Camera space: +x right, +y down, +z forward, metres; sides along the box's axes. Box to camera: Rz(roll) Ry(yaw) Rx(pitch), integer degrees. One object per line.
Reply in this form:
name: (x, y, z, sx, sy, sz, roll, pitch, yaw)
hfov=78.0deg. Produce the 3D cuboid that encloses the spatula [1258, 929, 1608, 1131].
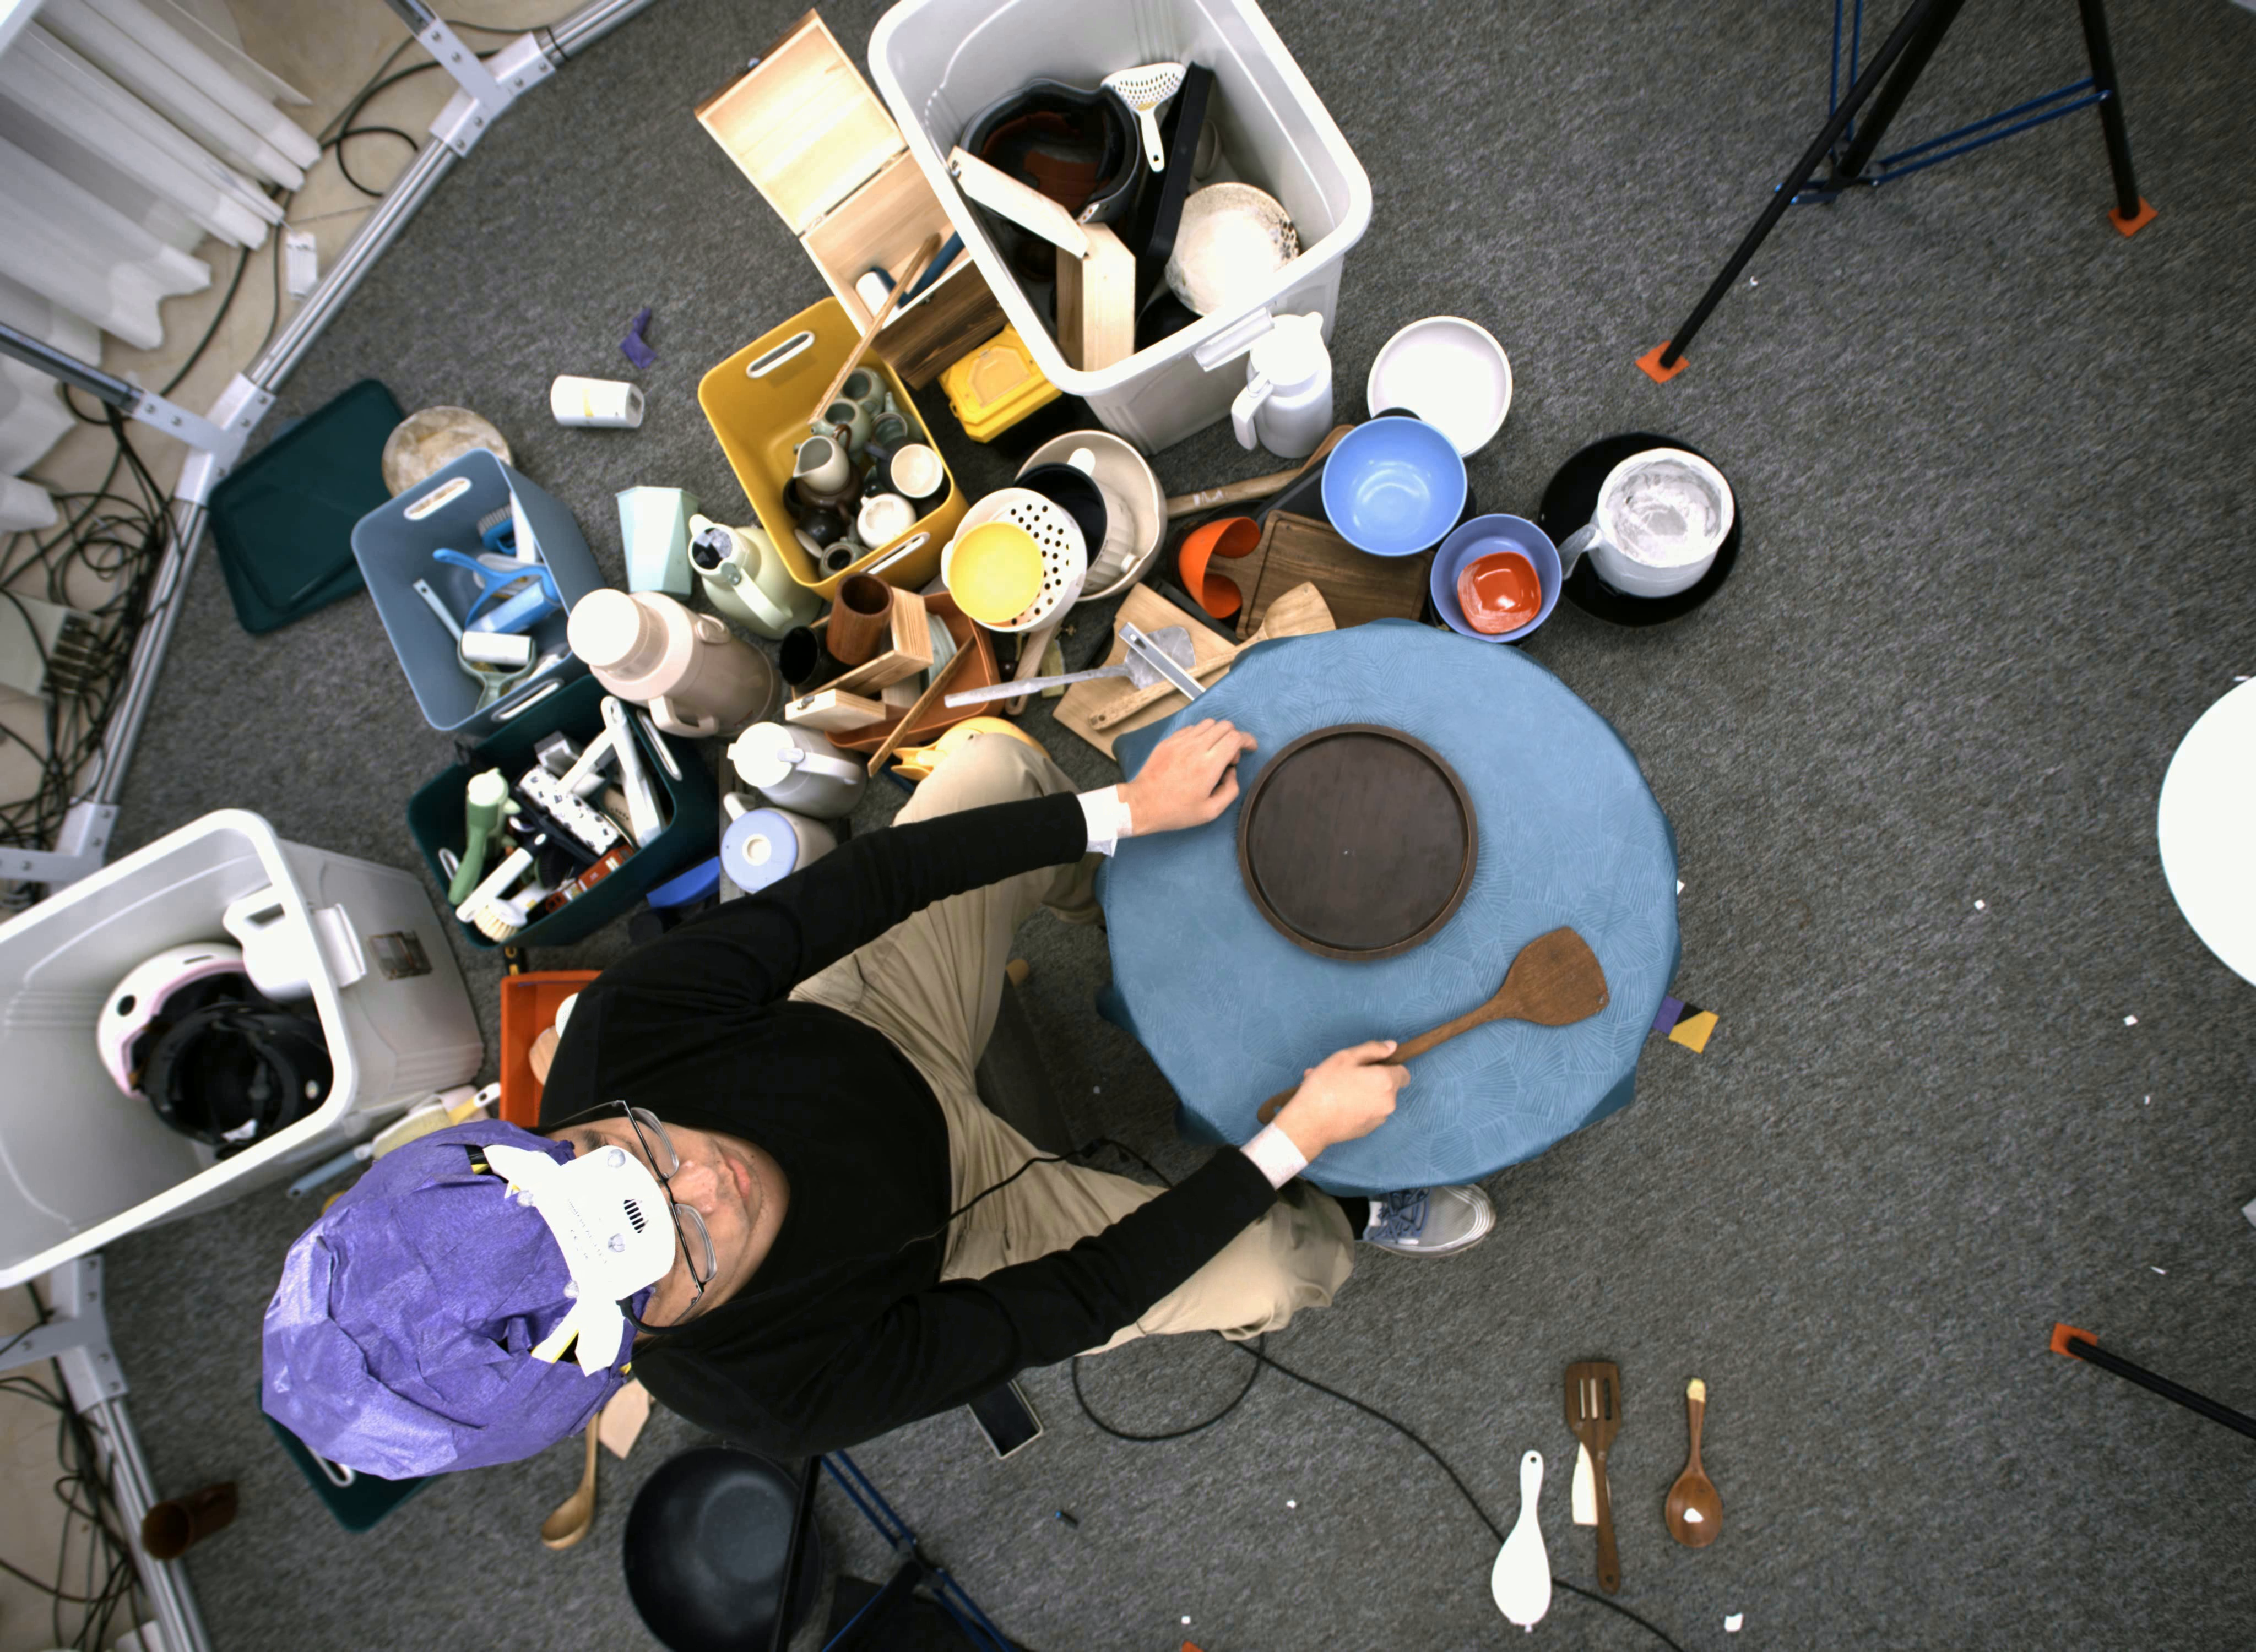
spatula: (0.309, 0.220, 1.414, 0.386, 0.016, 0.095, -25, 82, -1)

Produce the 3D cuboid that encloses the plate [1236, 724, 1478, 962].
plate: (0.240, 0.016, 1.458, 0.256, 0.029, 0.254, -1, 87, 9)
